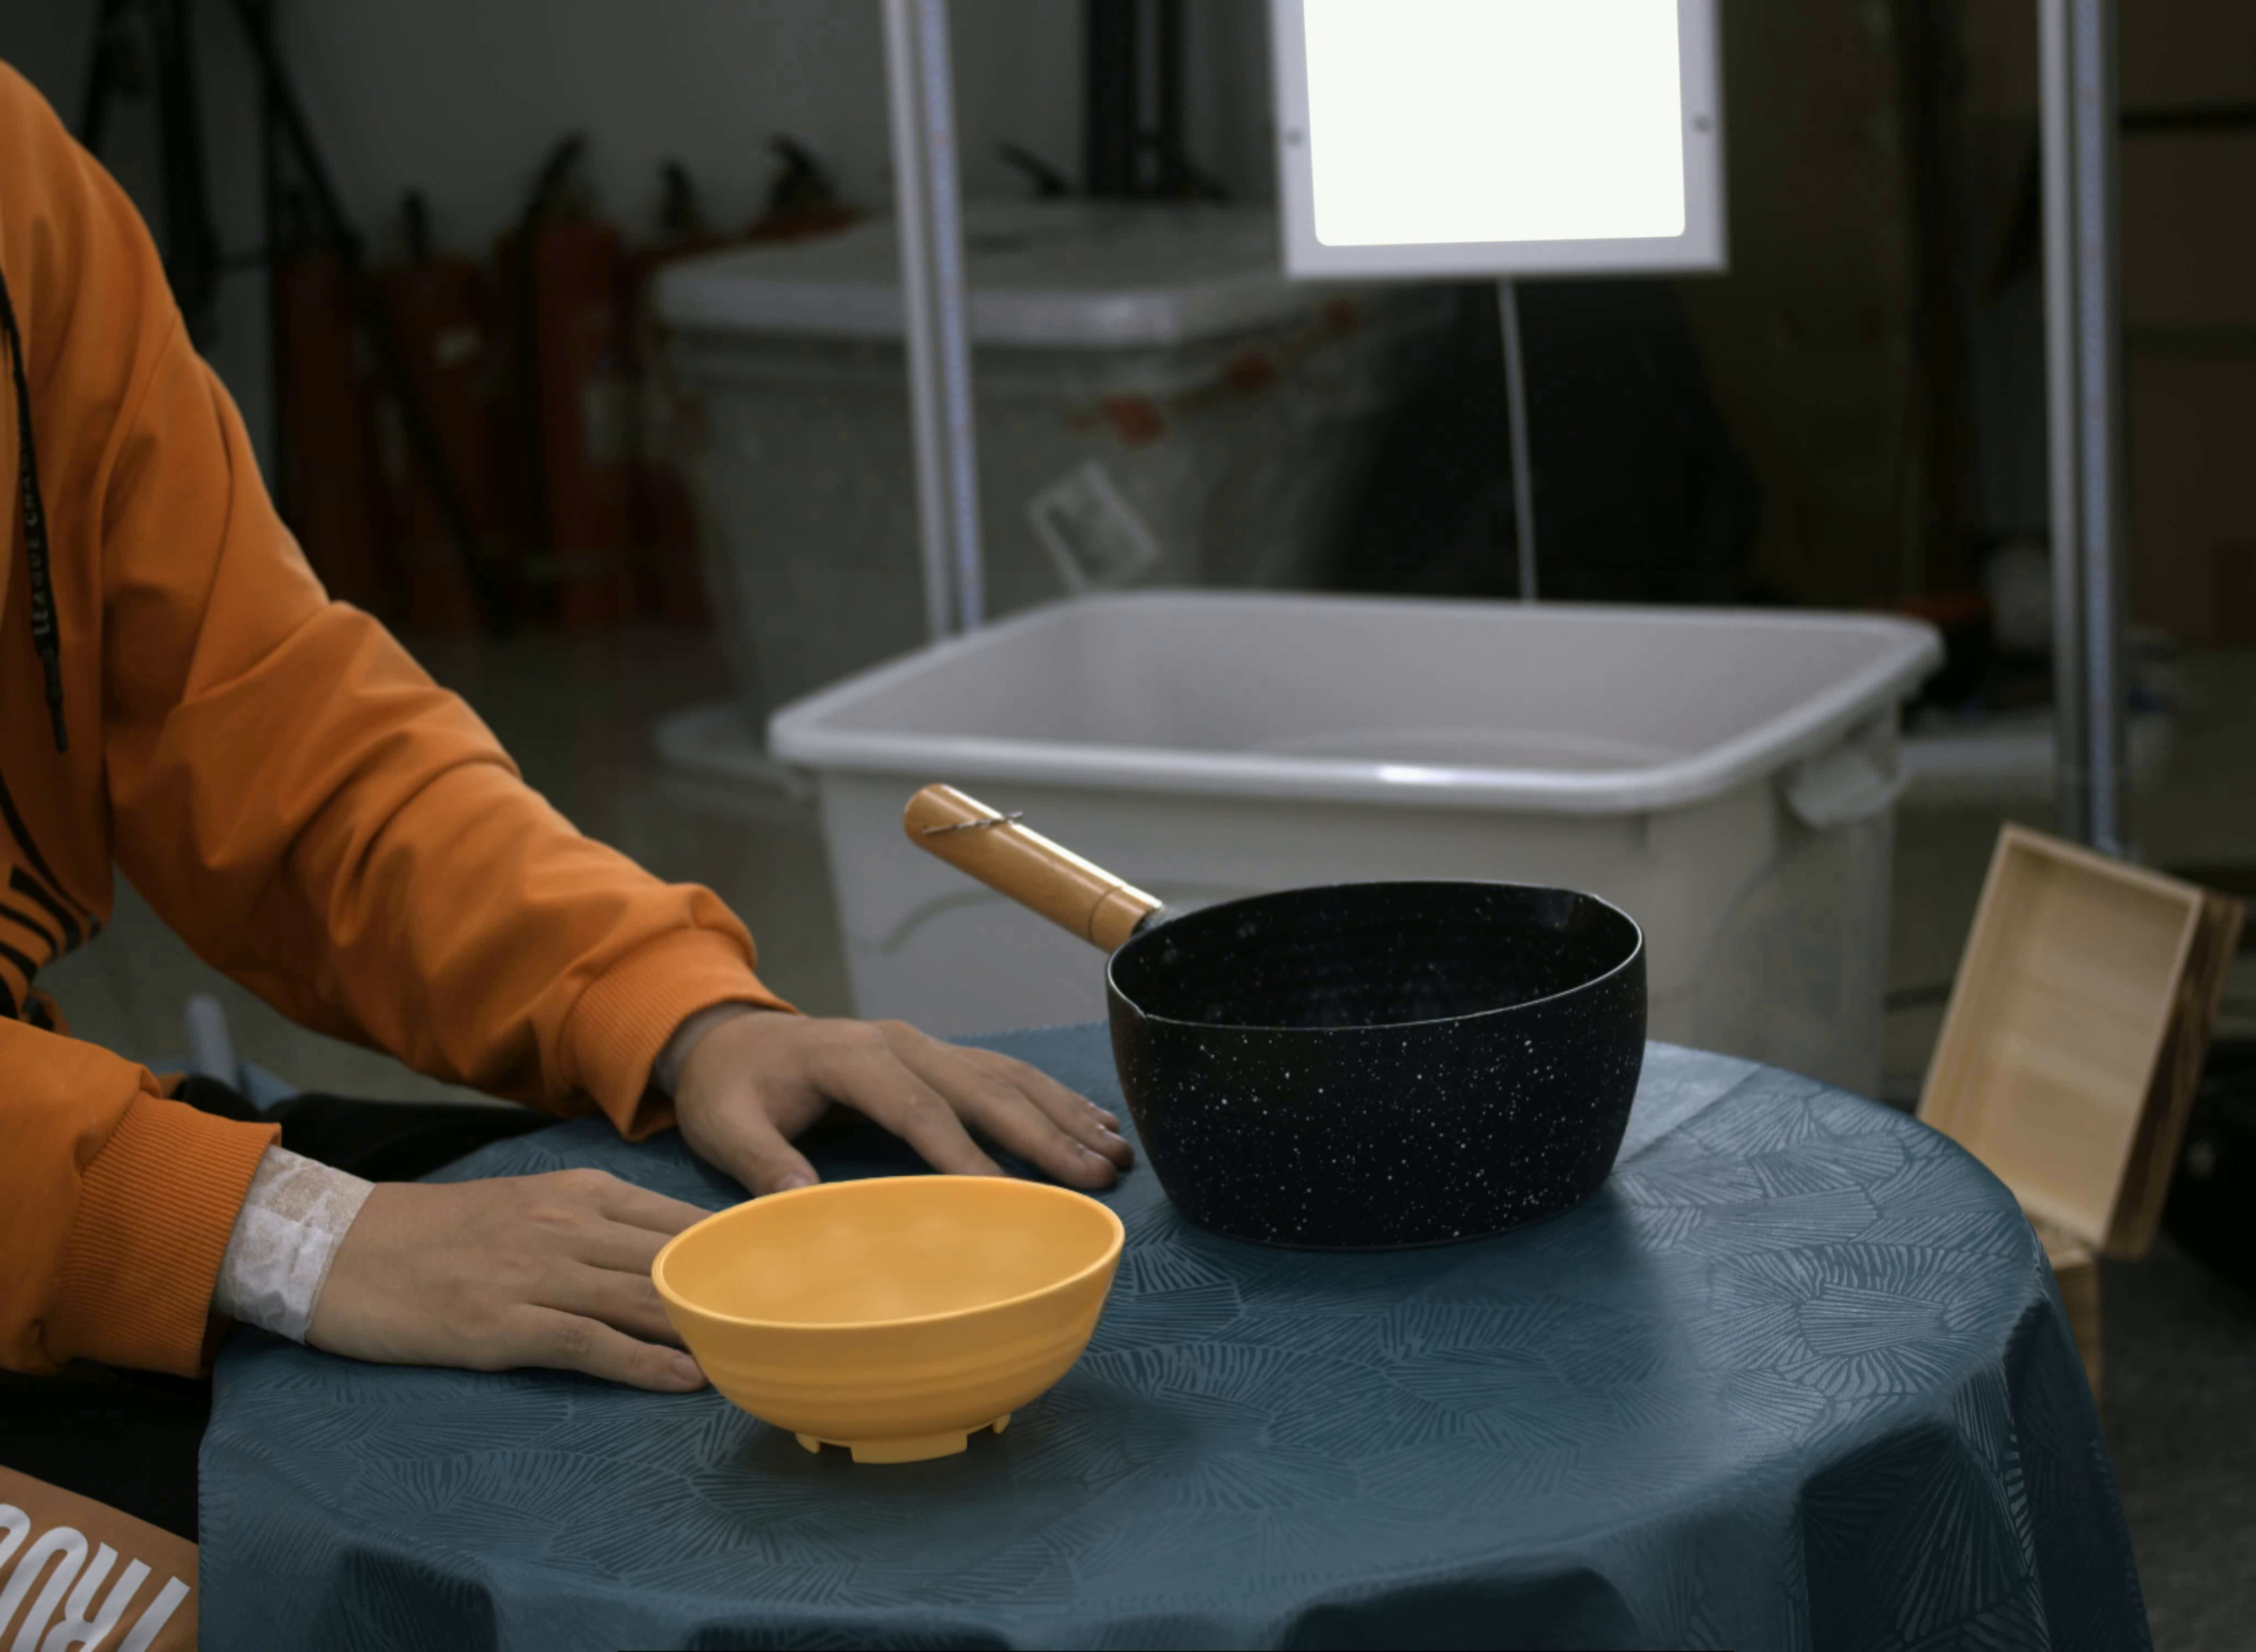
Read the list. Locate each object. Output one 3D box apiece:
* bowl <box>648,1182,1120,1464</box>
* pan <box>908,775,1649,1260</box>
[{"bbox_3d":[-0.072,0.156,1.682,0.145,0.060,0.145,-5,13,0],"label":"bowl"},{"bbox_3d":[0.034,0.060,1.928,0.202,0.108,0.350,-17,20,-37],"label":"pan"}]
